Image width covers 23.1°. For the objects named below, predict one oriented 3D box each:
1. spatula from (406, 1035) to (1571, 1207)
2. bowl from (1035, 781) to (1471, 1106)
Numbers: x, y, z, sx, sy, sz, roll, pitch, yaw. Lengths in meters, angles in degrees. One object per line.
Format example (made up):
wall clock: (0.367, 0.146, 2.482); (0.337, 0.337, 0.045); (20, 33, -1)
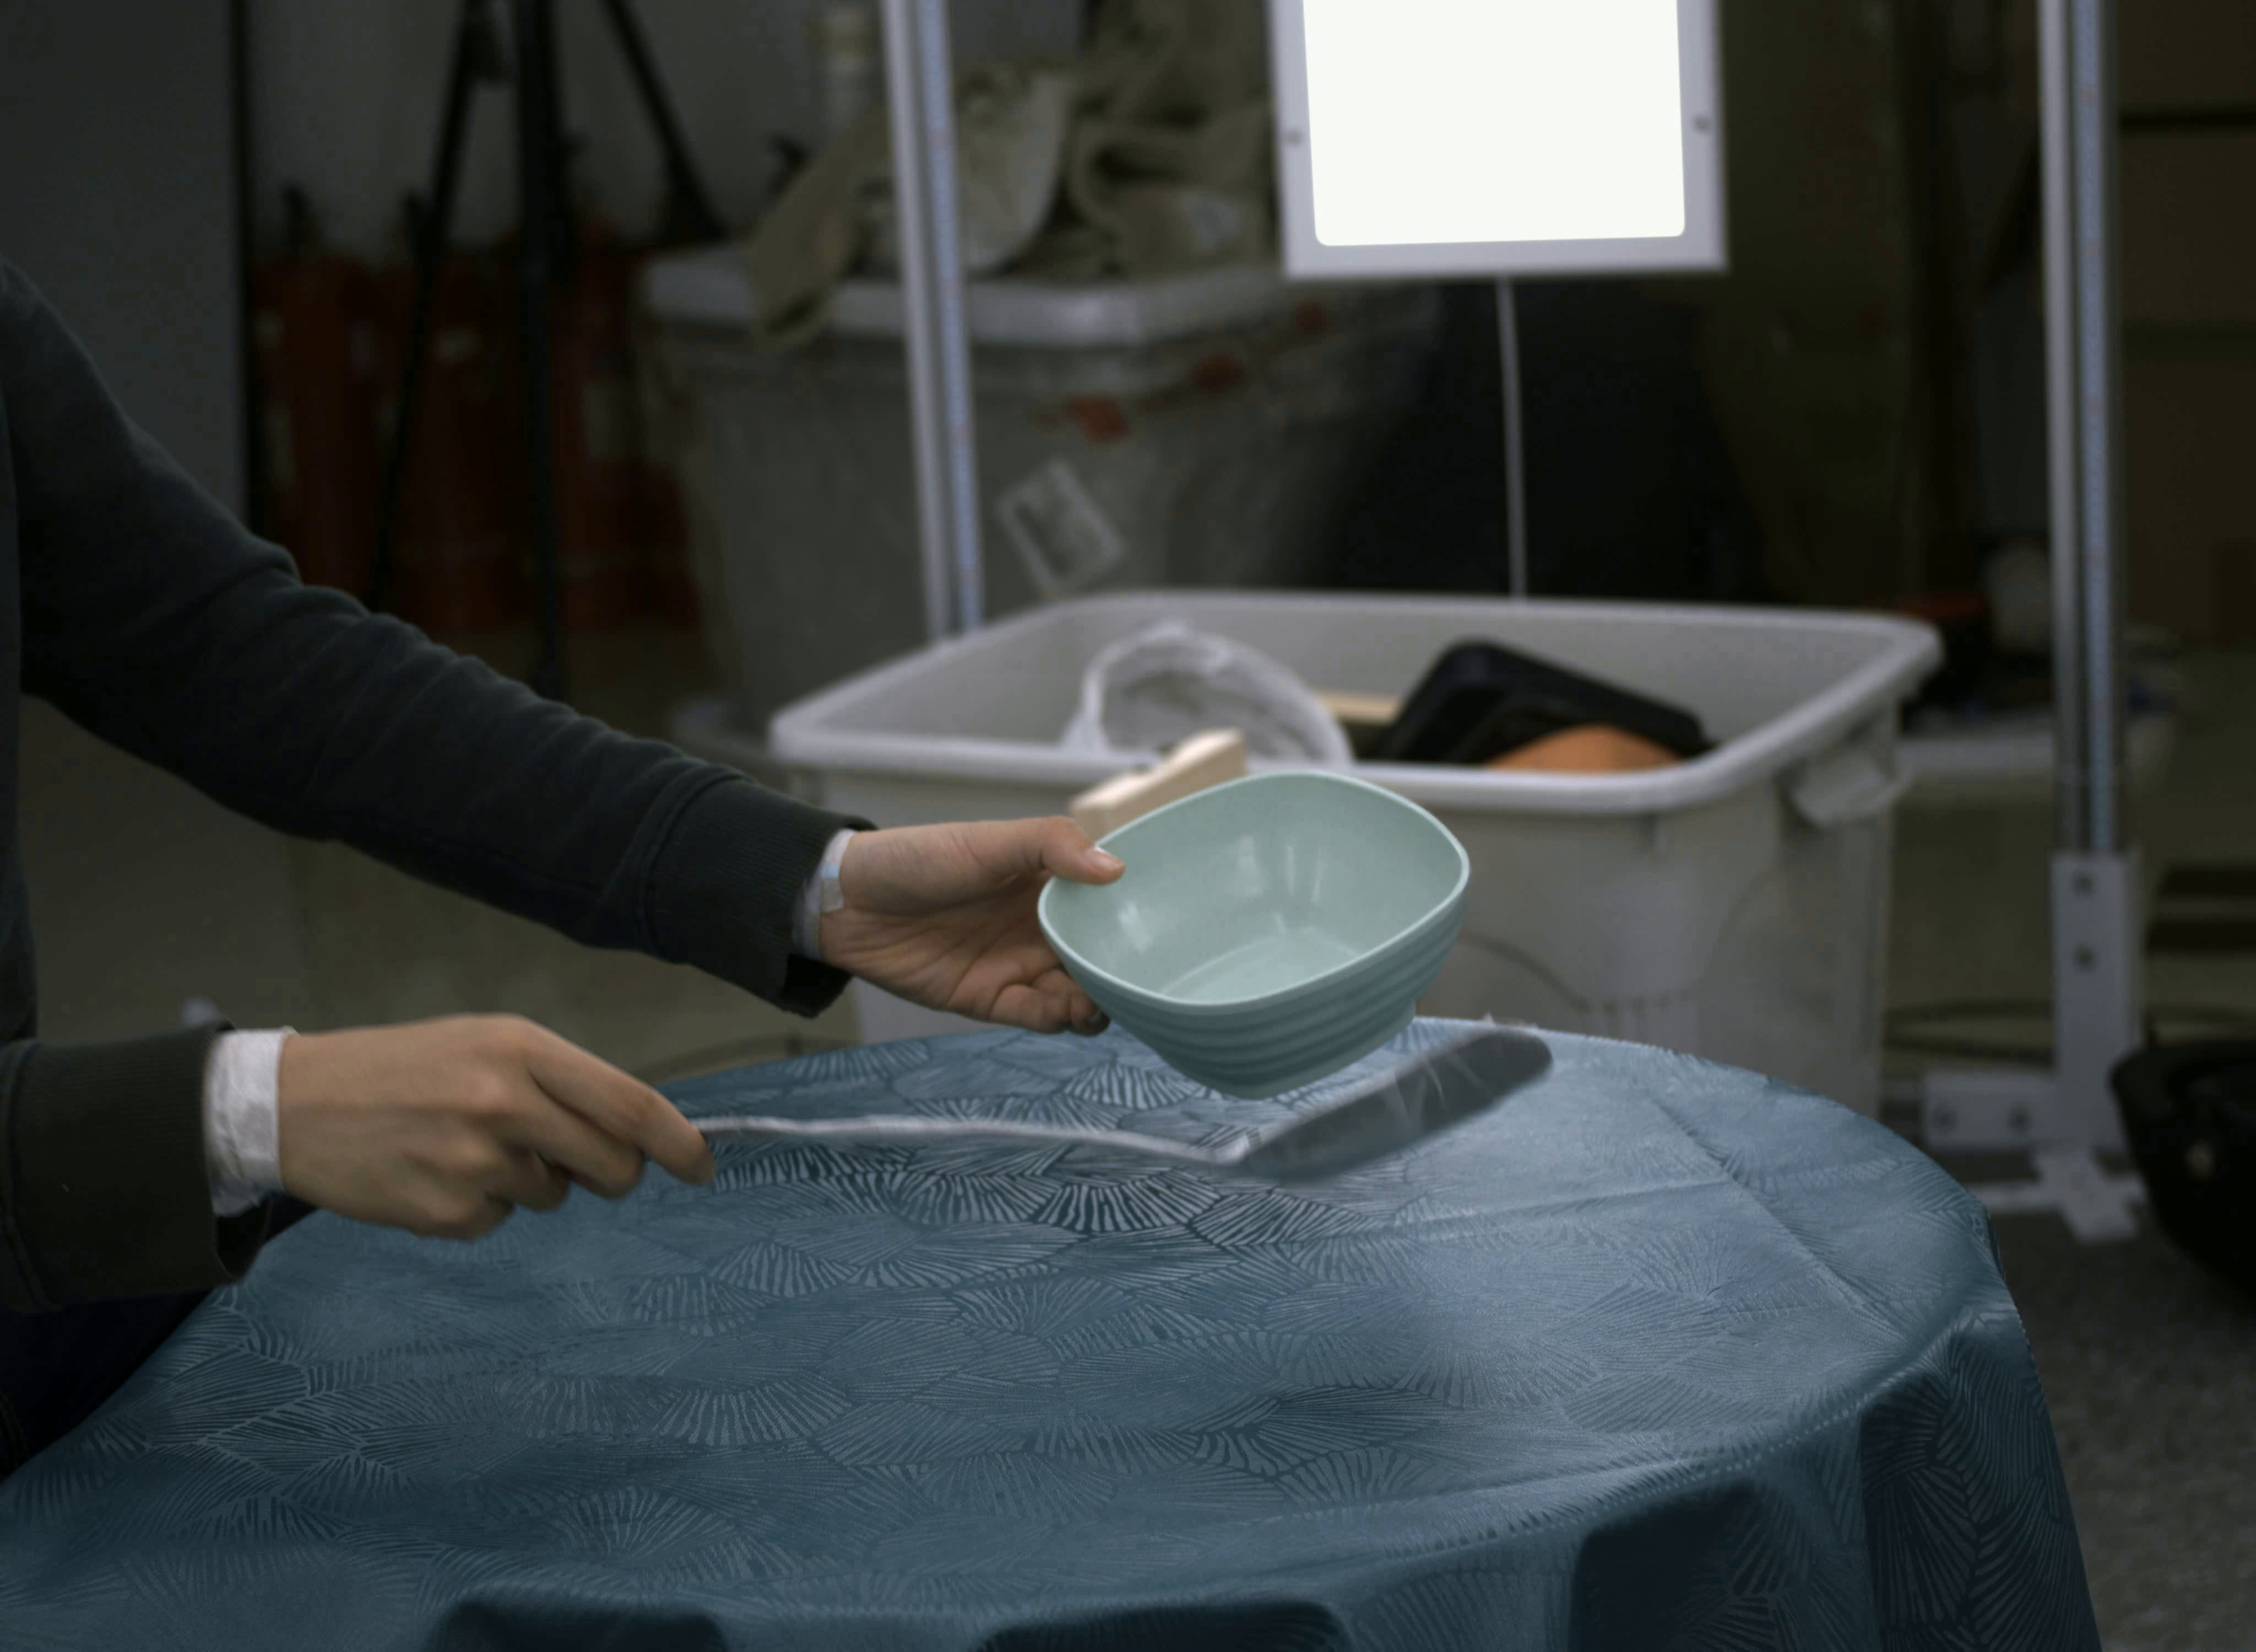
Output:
spatula: (-0.048, 0.093, 1.677); (0.367, 0.045, 0.098); (-1, -11, 12)
bowl: (0.045, 0.046, 1.890); (0.151, 0.059, 0.151); (-8, 29, 3)
